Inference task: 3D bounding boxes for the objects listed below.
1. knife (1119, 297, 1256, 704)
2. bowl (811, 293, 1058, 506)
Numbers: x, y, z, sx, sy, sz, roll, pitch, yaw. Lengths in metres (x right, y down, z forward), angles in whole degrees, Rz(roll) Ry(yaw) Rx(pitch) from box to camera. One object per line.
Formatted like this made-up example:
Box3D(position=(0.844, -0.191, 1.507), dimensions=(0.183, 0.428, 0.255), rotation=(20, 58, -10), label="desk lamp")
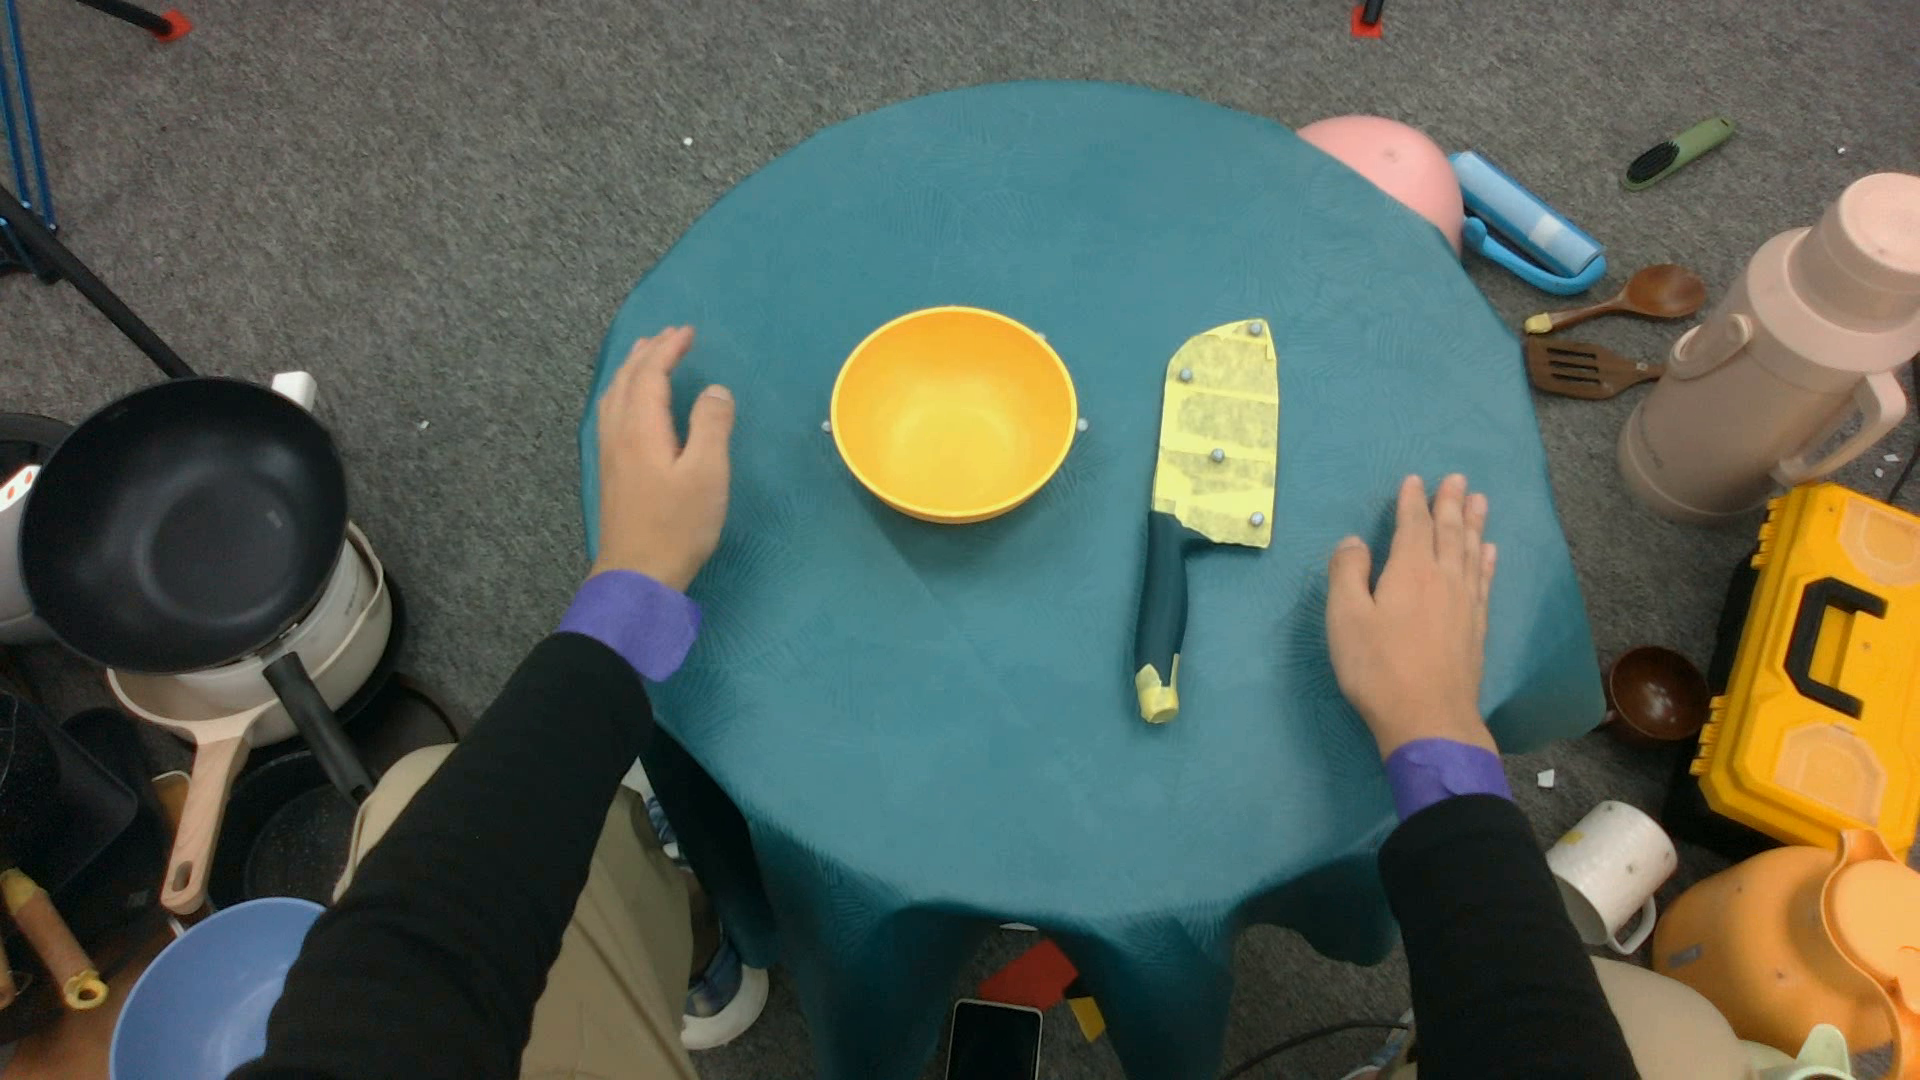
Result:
Box3D(position=(0.138, -0.033, 0.835), dimensions=(0.081, 0.027, 0.290), rotation=(10, 63, 6), label="knife")
Box3D(position=(-0.014, -0.074, 0.829), dimensions=(0.145, 0.060, 0.146), rotation=(-1, 63, 2), label="bowl")
